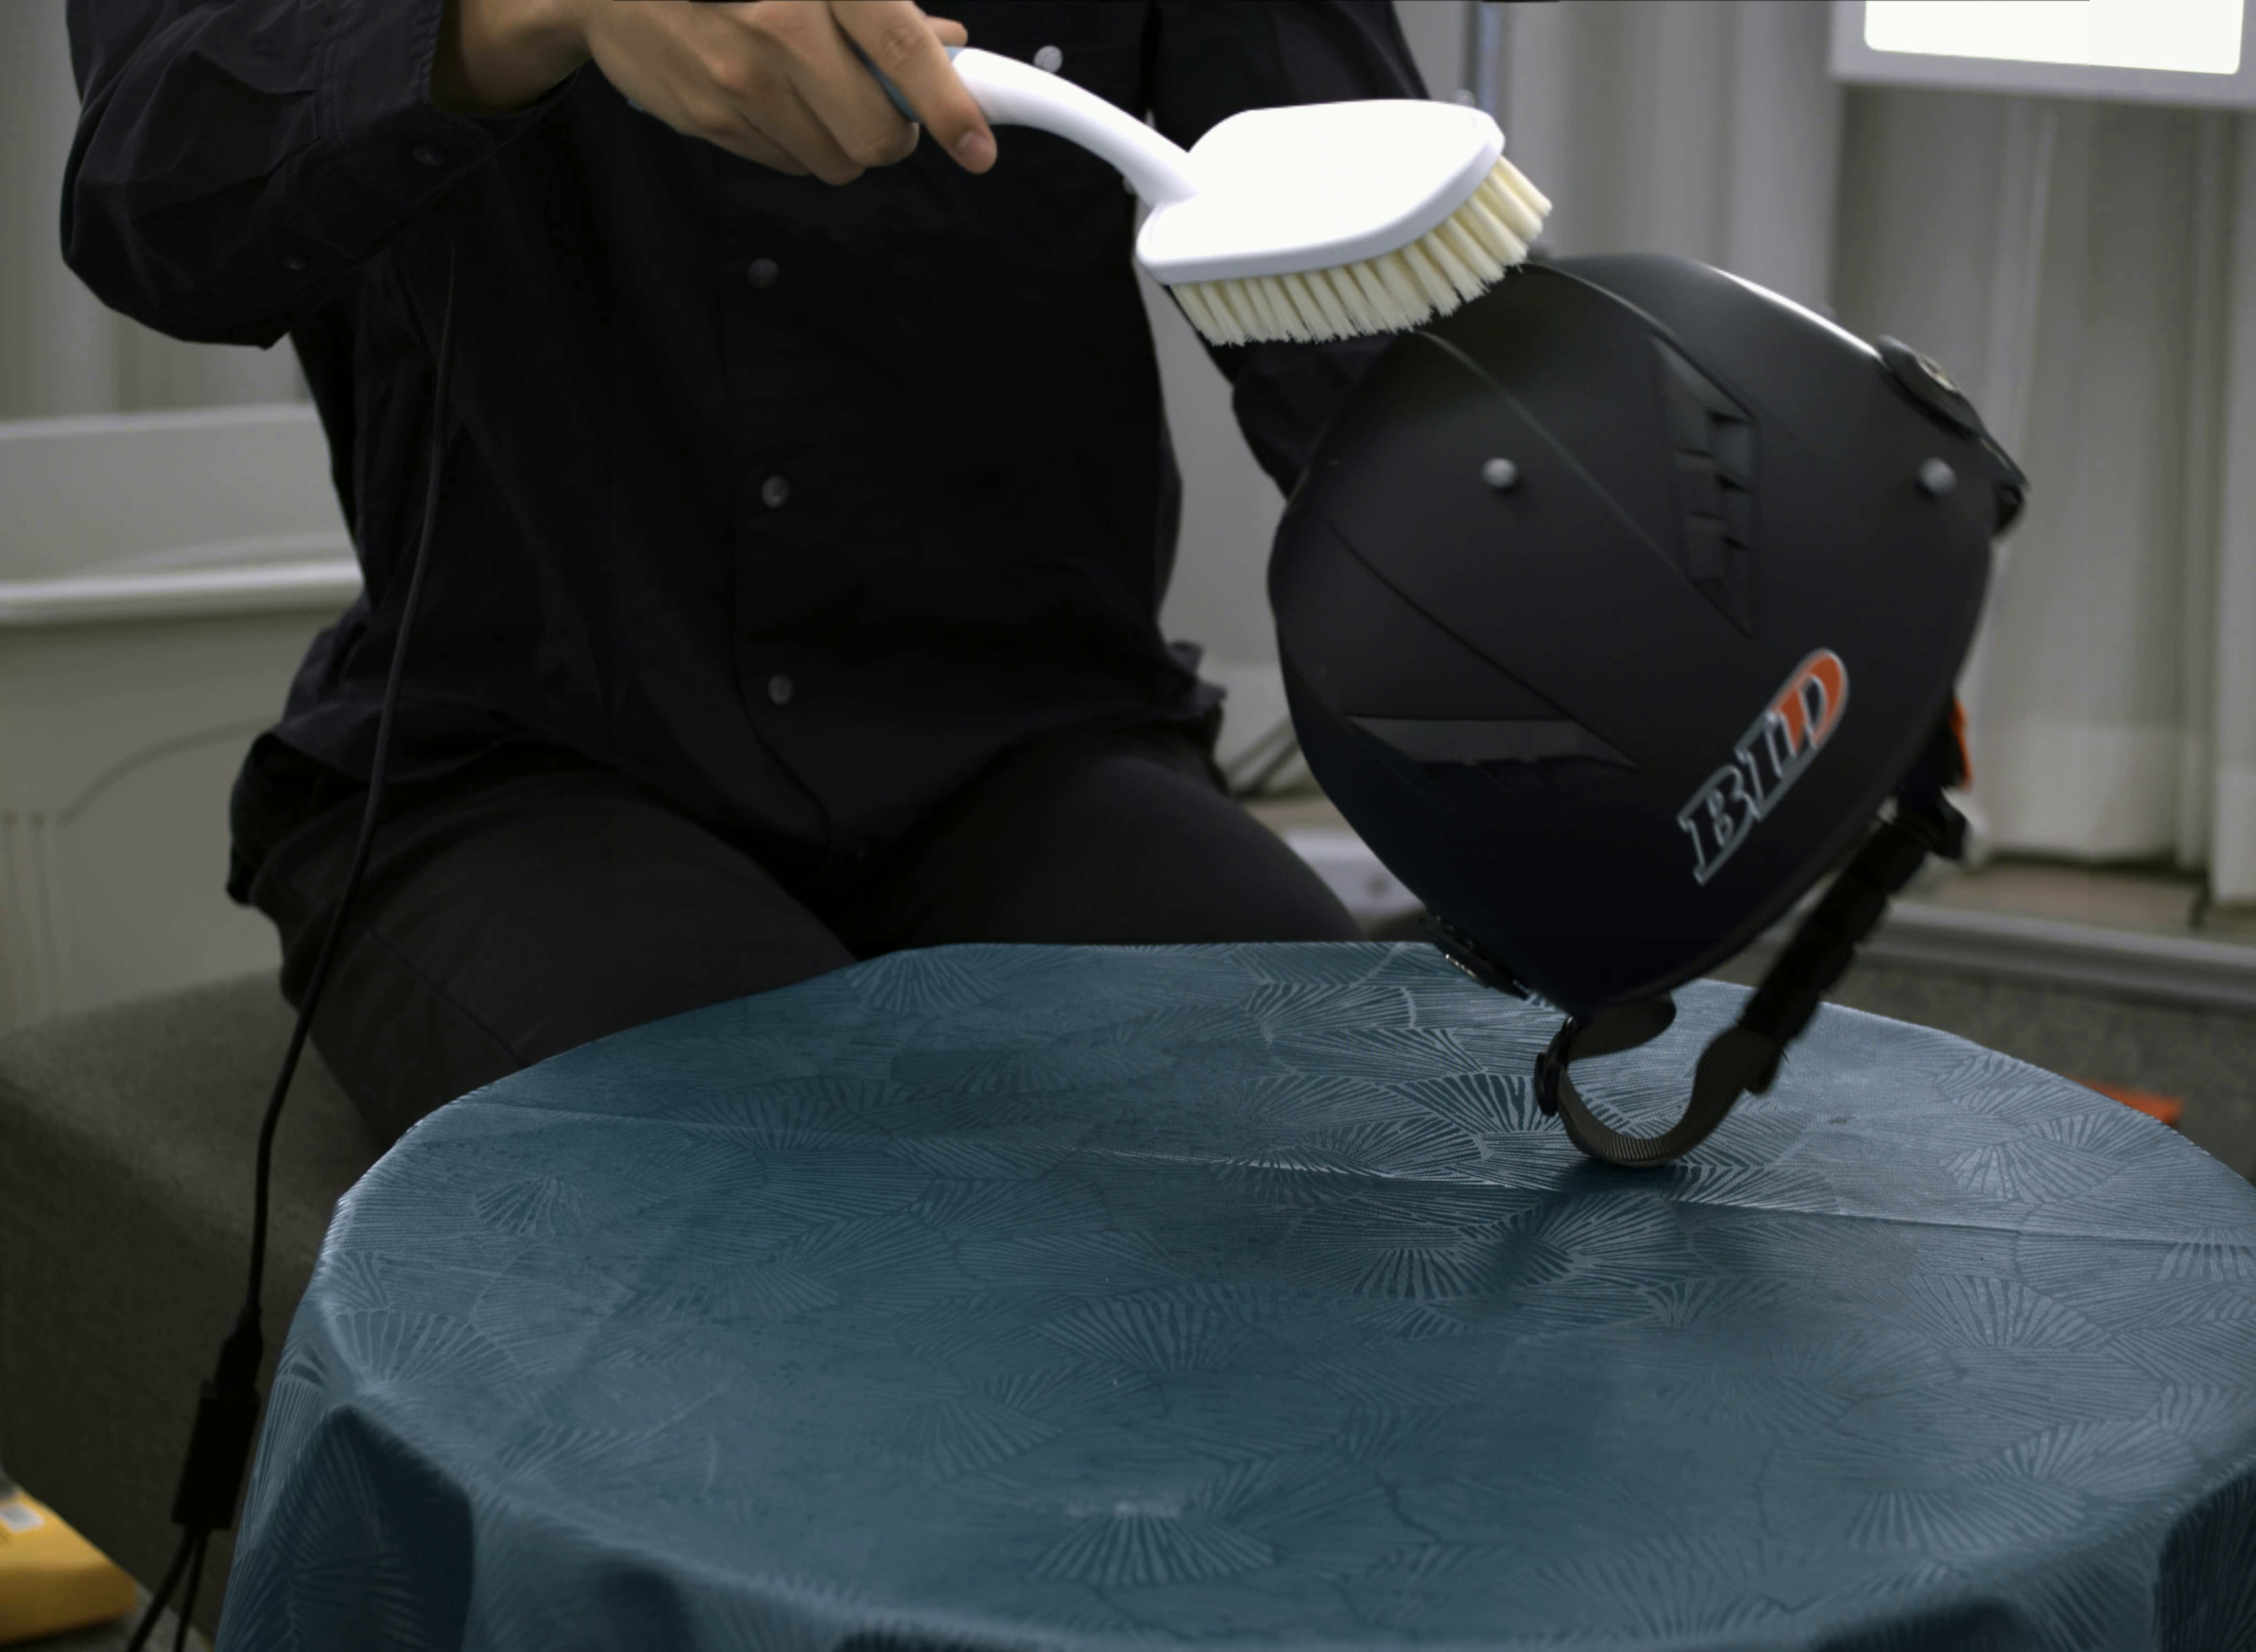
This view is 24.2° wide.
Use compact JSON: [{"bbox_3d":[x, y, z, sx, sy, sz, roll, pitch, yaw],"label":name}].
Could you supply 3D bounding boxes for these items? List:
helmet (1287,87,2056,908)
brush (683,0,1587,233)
[{"bbox_3d":[0.151,-0.112,1.607,0.174,0.247,0.274,33,11,-21],"label":"helmet"},{"bbox_3d":[0.002,-0.235,1.652,0.321,0.085,0.083,11,21,32],"label":"brush"}]
